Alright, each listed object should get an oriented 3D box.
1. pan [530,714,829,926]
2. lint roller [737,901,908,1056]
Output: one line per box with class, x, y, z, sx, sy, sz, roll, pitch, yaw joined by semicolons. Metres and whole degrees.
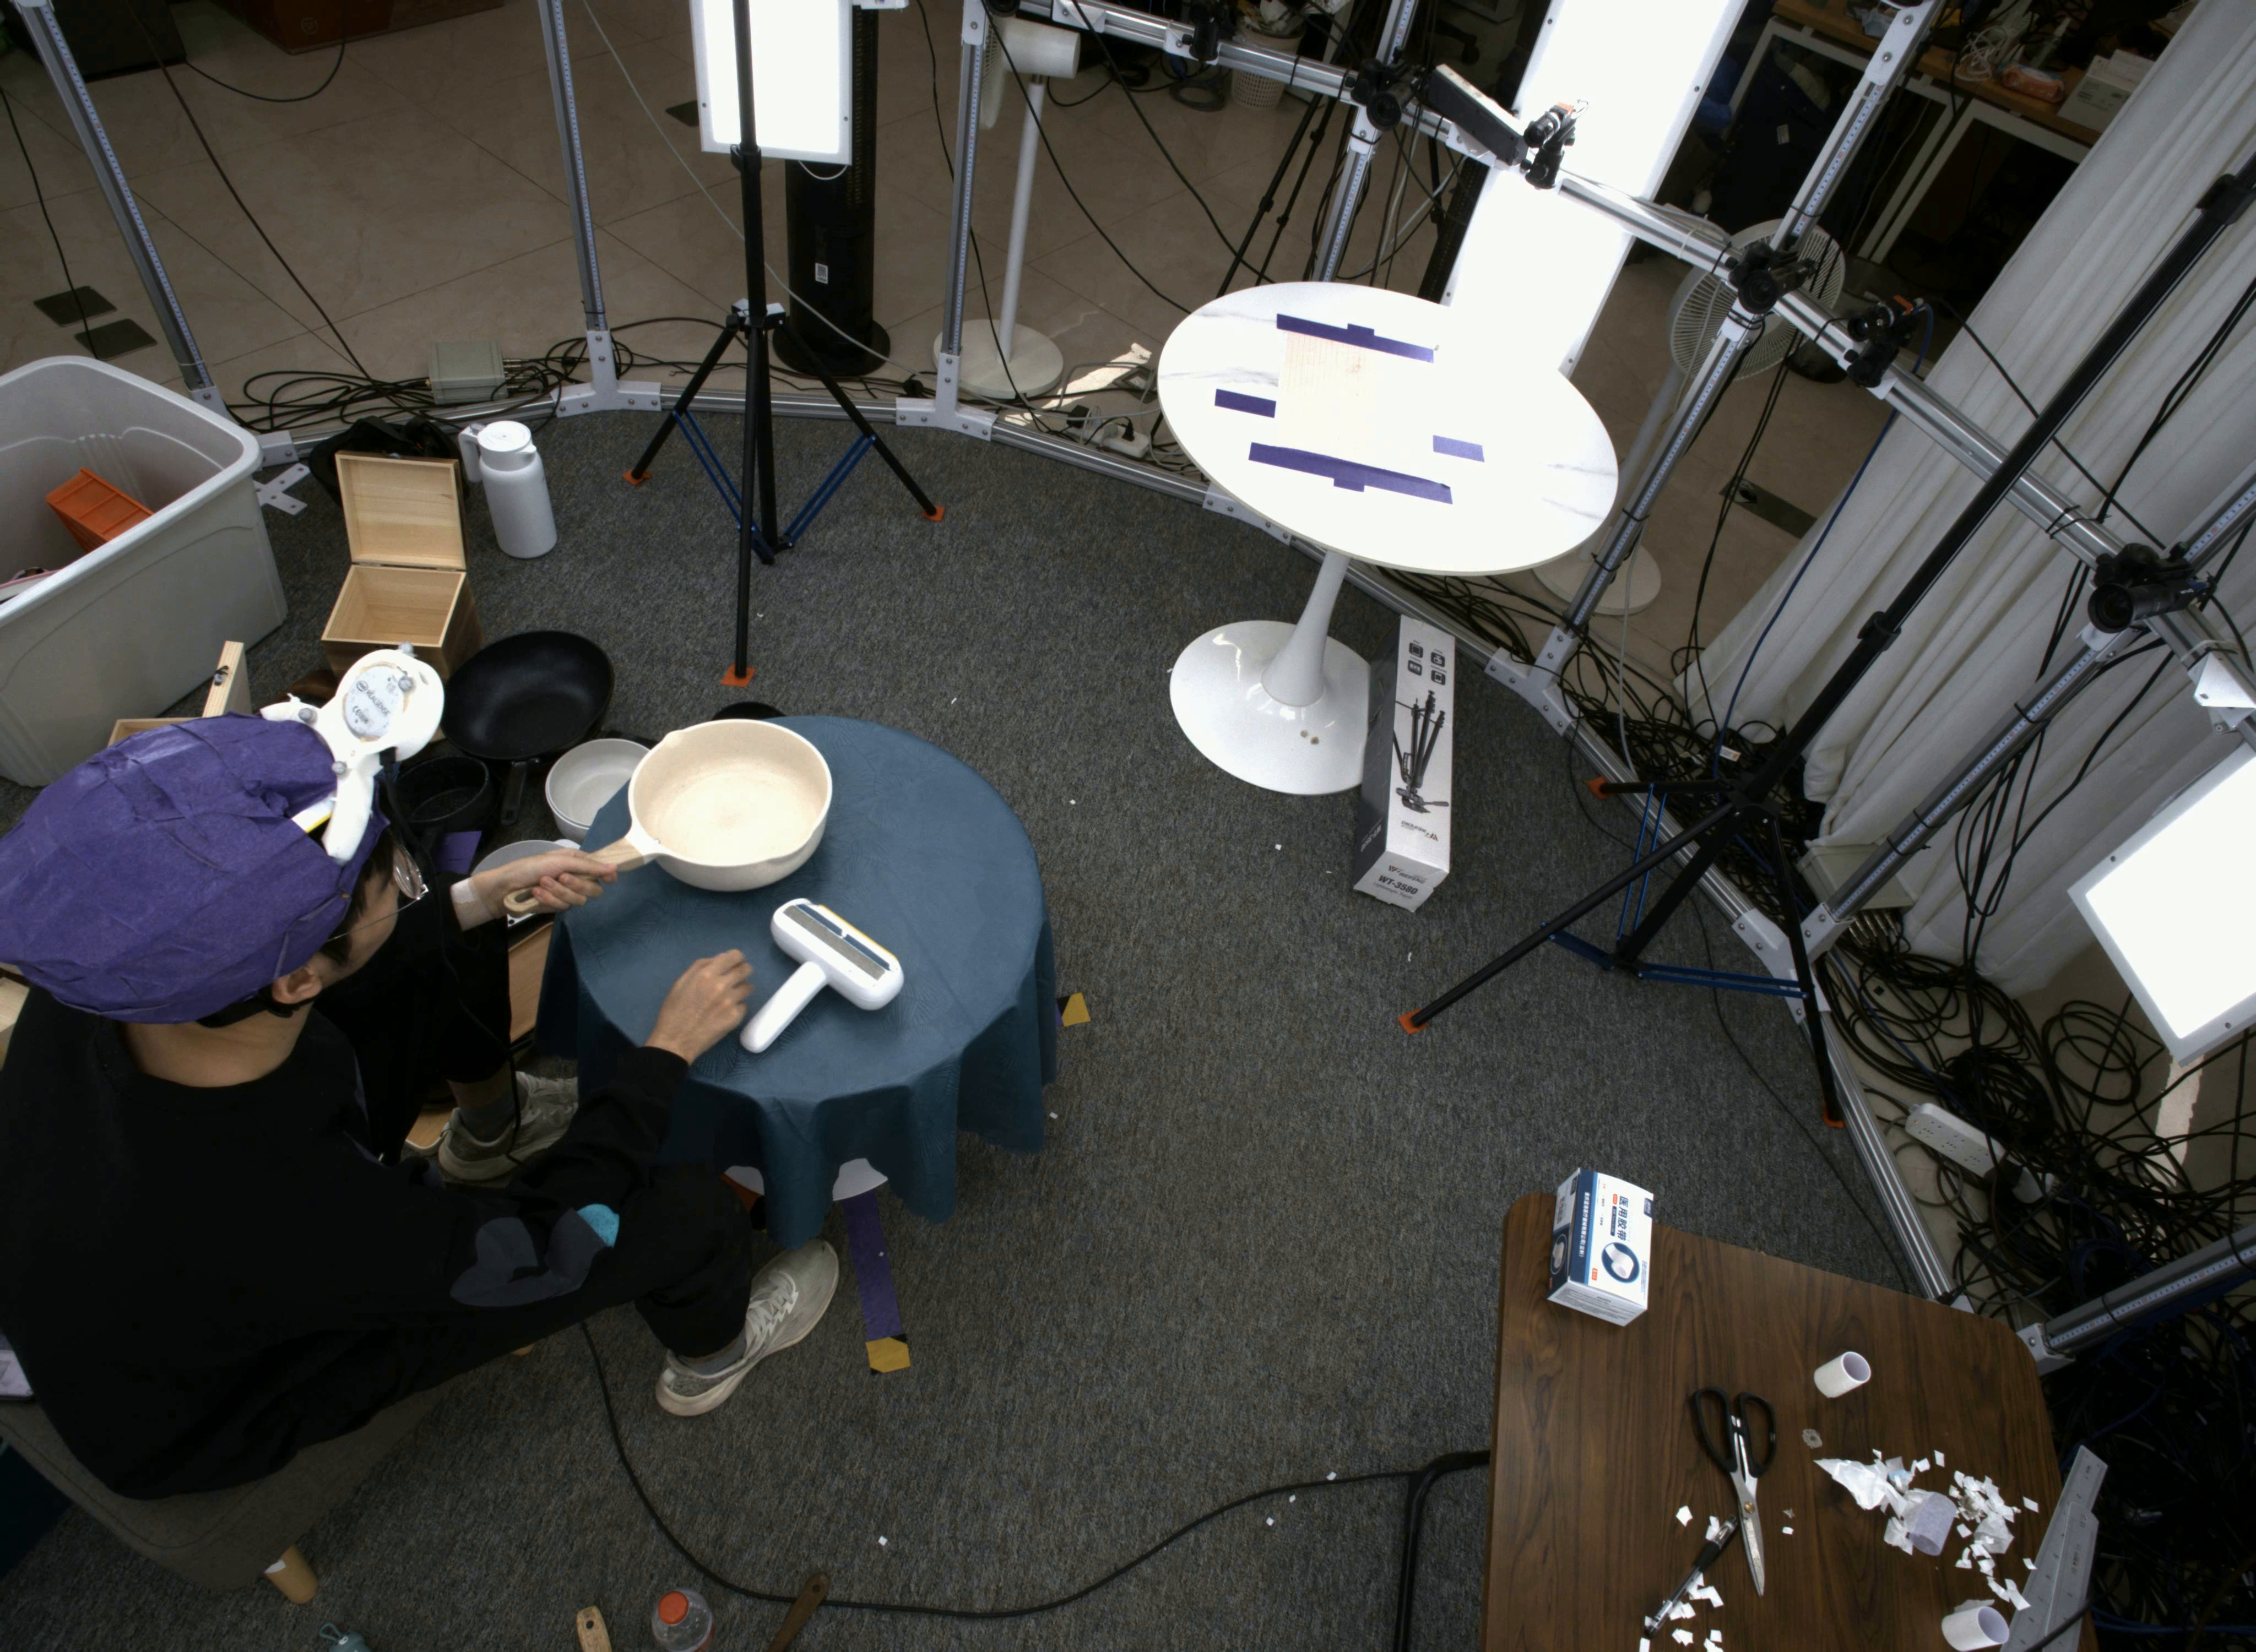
pan;-0.571;0.018;1.607;0.258;0.104;0.435;40;54;17
lint roller;-0.388;0.193;1.553;0.188;0.076;0.192;37;55;20
